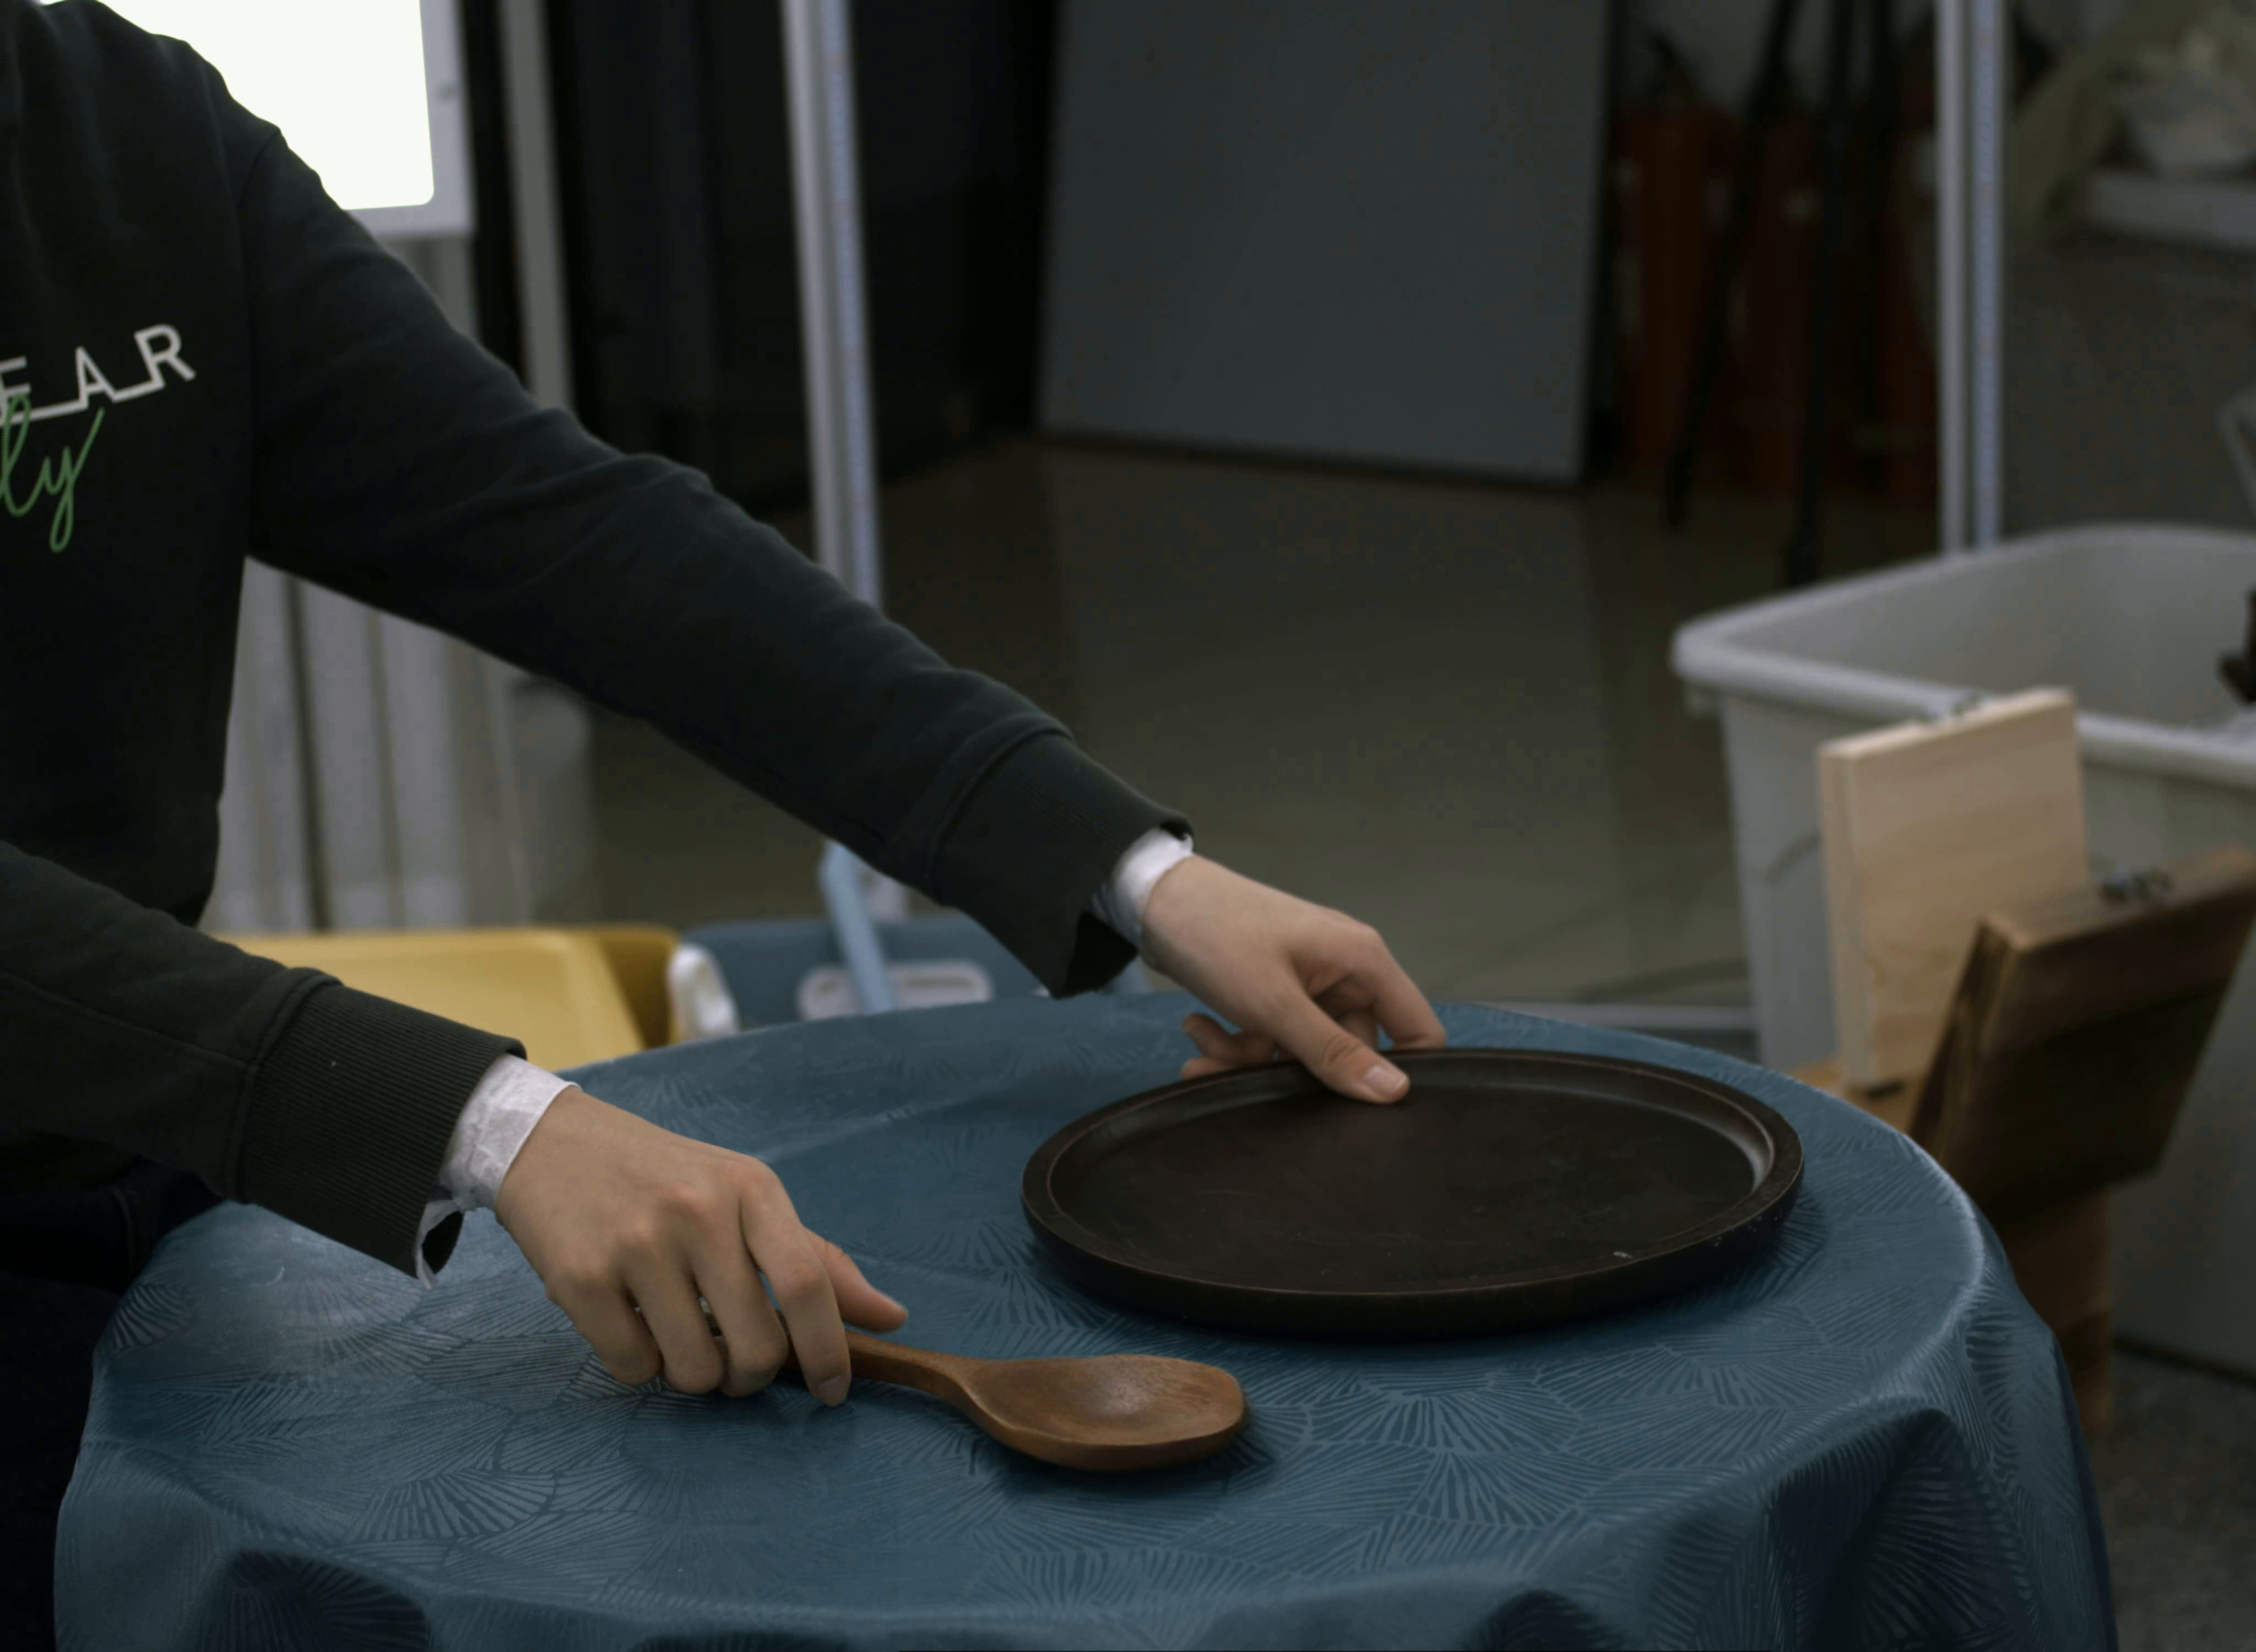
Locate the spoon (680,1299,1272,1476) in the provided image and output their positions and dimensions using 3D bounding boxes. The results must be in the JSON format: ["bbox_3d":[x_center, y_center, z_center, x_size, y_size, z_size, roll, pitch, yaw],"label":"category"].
[{"bbox_3d":[-0.049,0.163,1.580,0.217,0.017,0.074,8,18,40],"label":"spoon"}]

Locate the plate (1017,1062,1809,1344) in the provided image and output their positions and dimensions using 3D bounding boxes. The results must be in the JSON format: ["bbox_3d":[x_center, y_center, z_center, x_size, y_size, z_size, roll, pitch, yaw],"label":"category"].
[{"bbox_3d":[0.091,0.117,1.716,0.251,0.029,0.255,-3,14,0],"label":"plate"}]
